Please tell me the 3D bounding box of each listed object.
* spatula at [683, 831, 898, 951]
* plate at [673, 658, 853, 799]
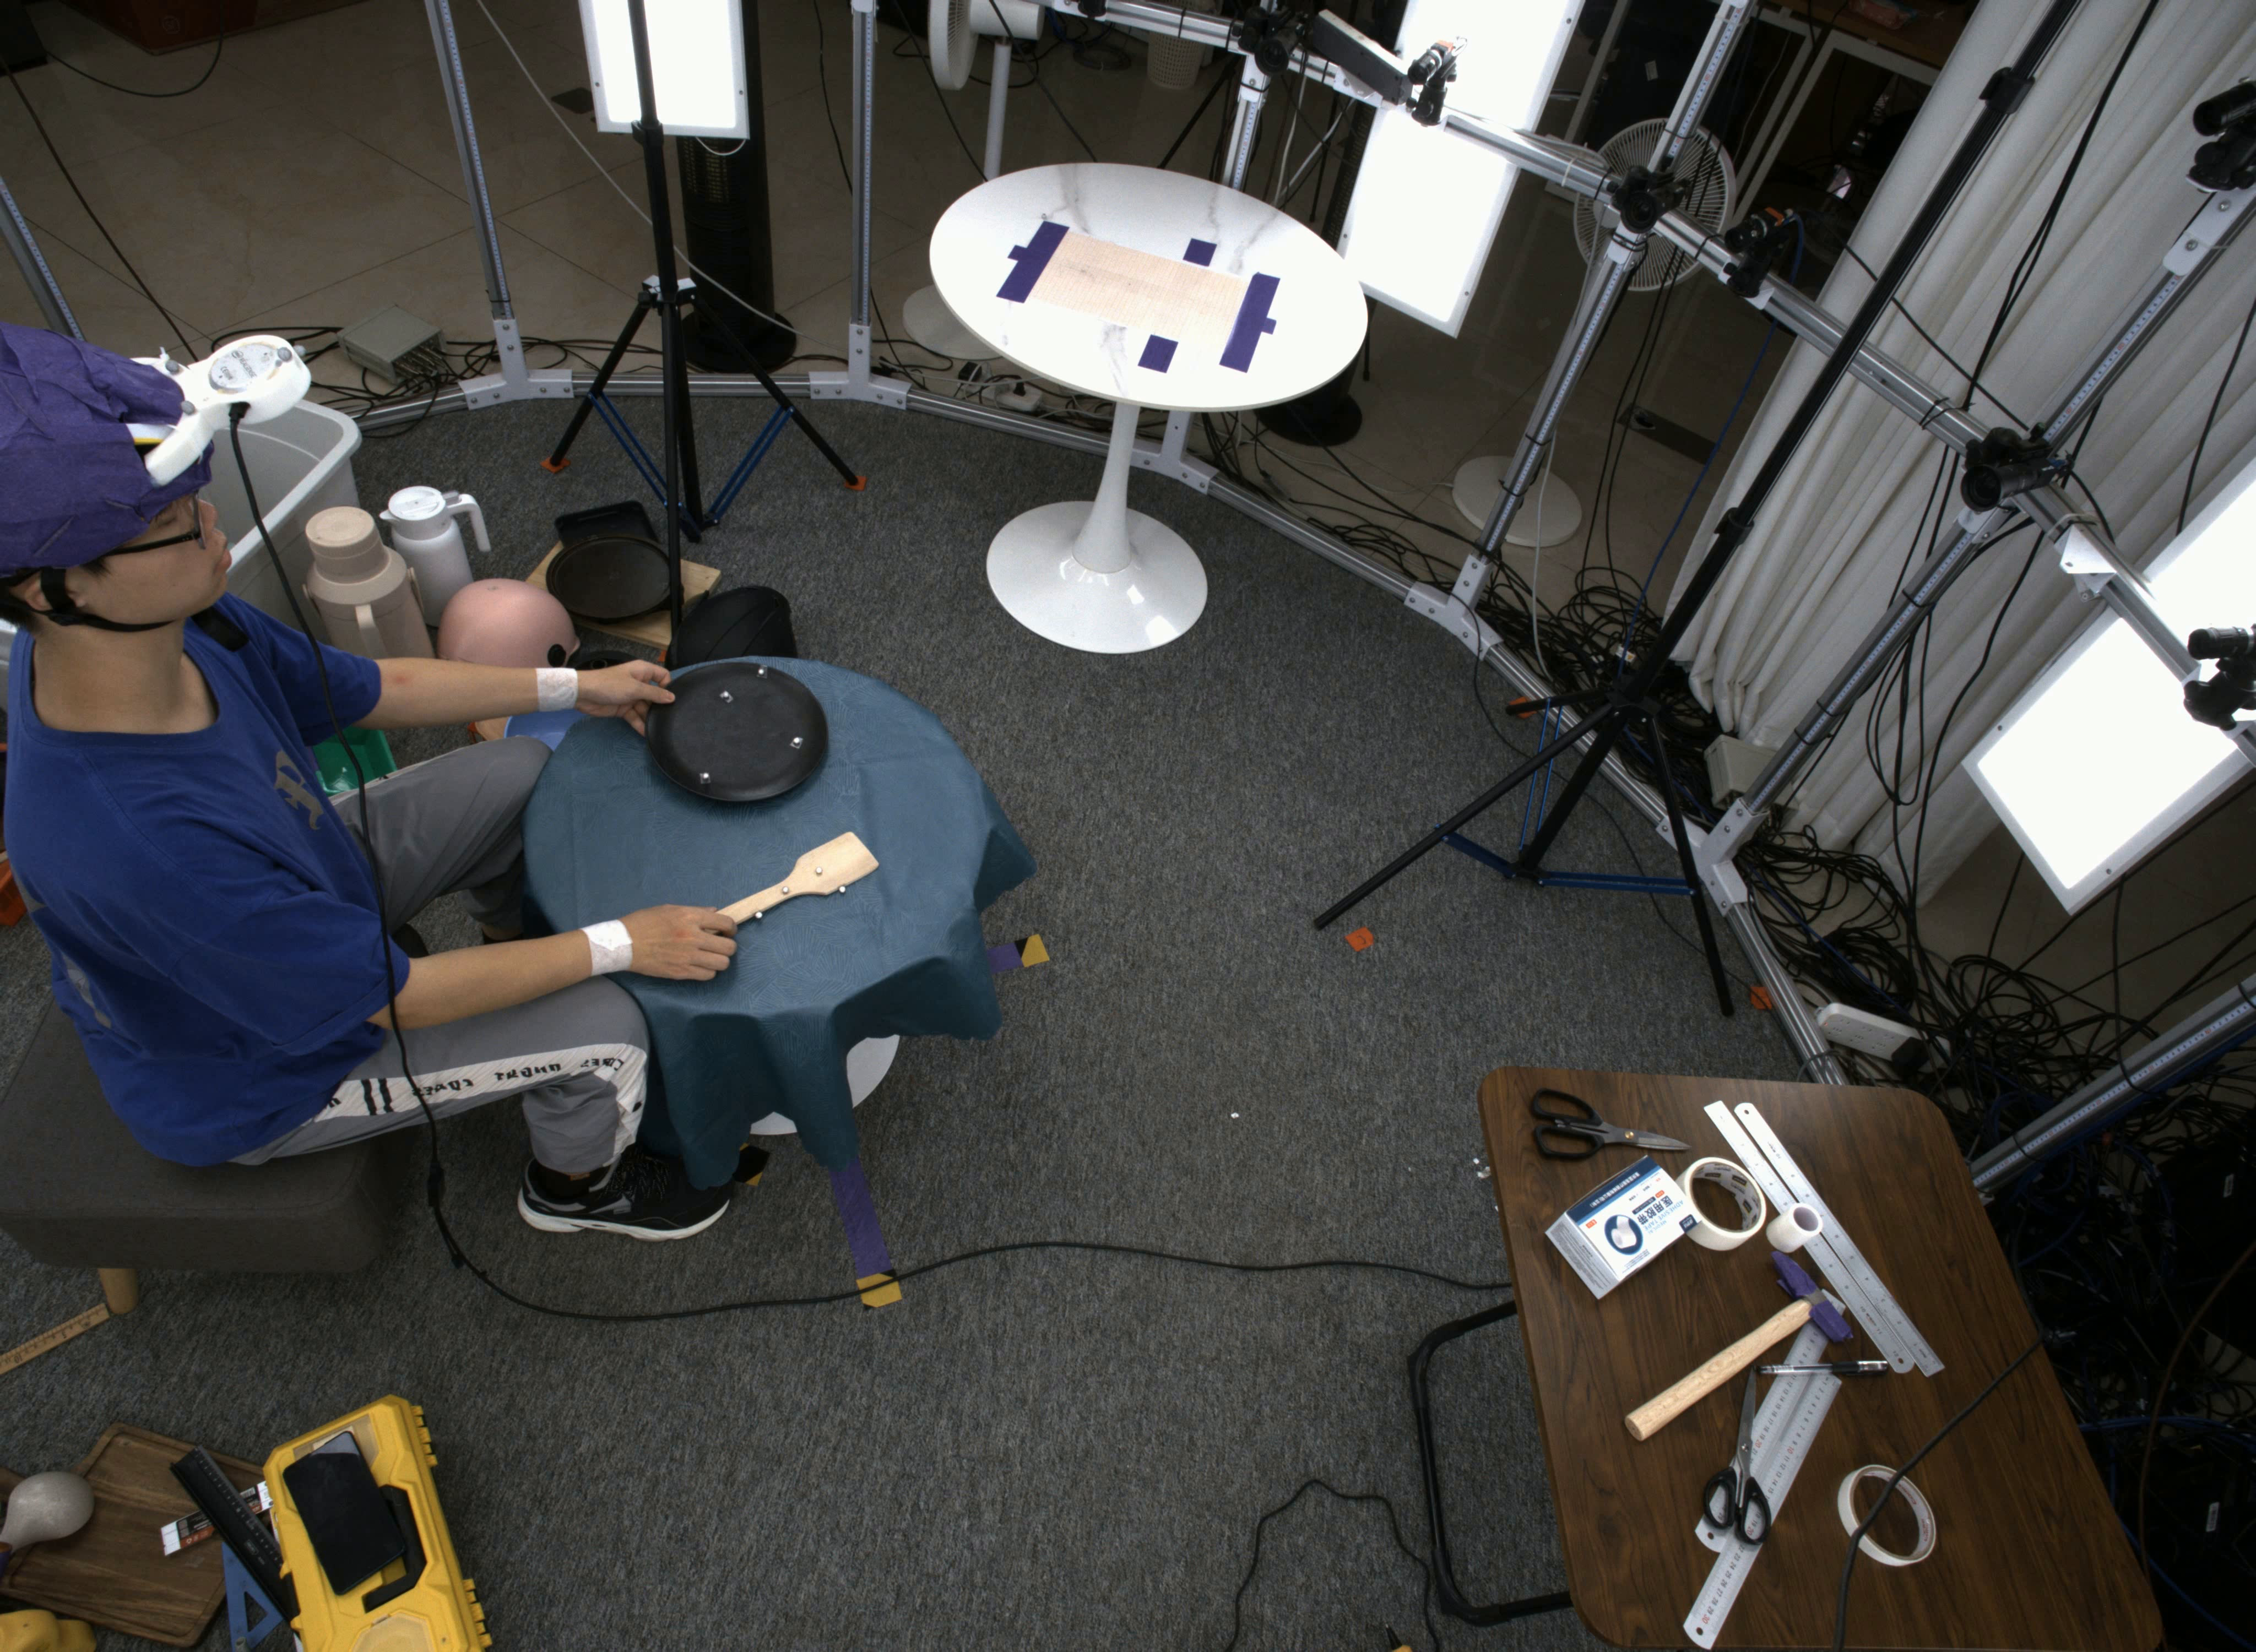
[{"bbox_3d":[-0.432,0.087,1.656,0.294,0.011,0.070,-28,65,-33],"label":"spatula"},{"bbox_3d":[-0.504,-0.132,1.787,0.245,0.024,0.240,10,55,-12],"label":"plate"}]
